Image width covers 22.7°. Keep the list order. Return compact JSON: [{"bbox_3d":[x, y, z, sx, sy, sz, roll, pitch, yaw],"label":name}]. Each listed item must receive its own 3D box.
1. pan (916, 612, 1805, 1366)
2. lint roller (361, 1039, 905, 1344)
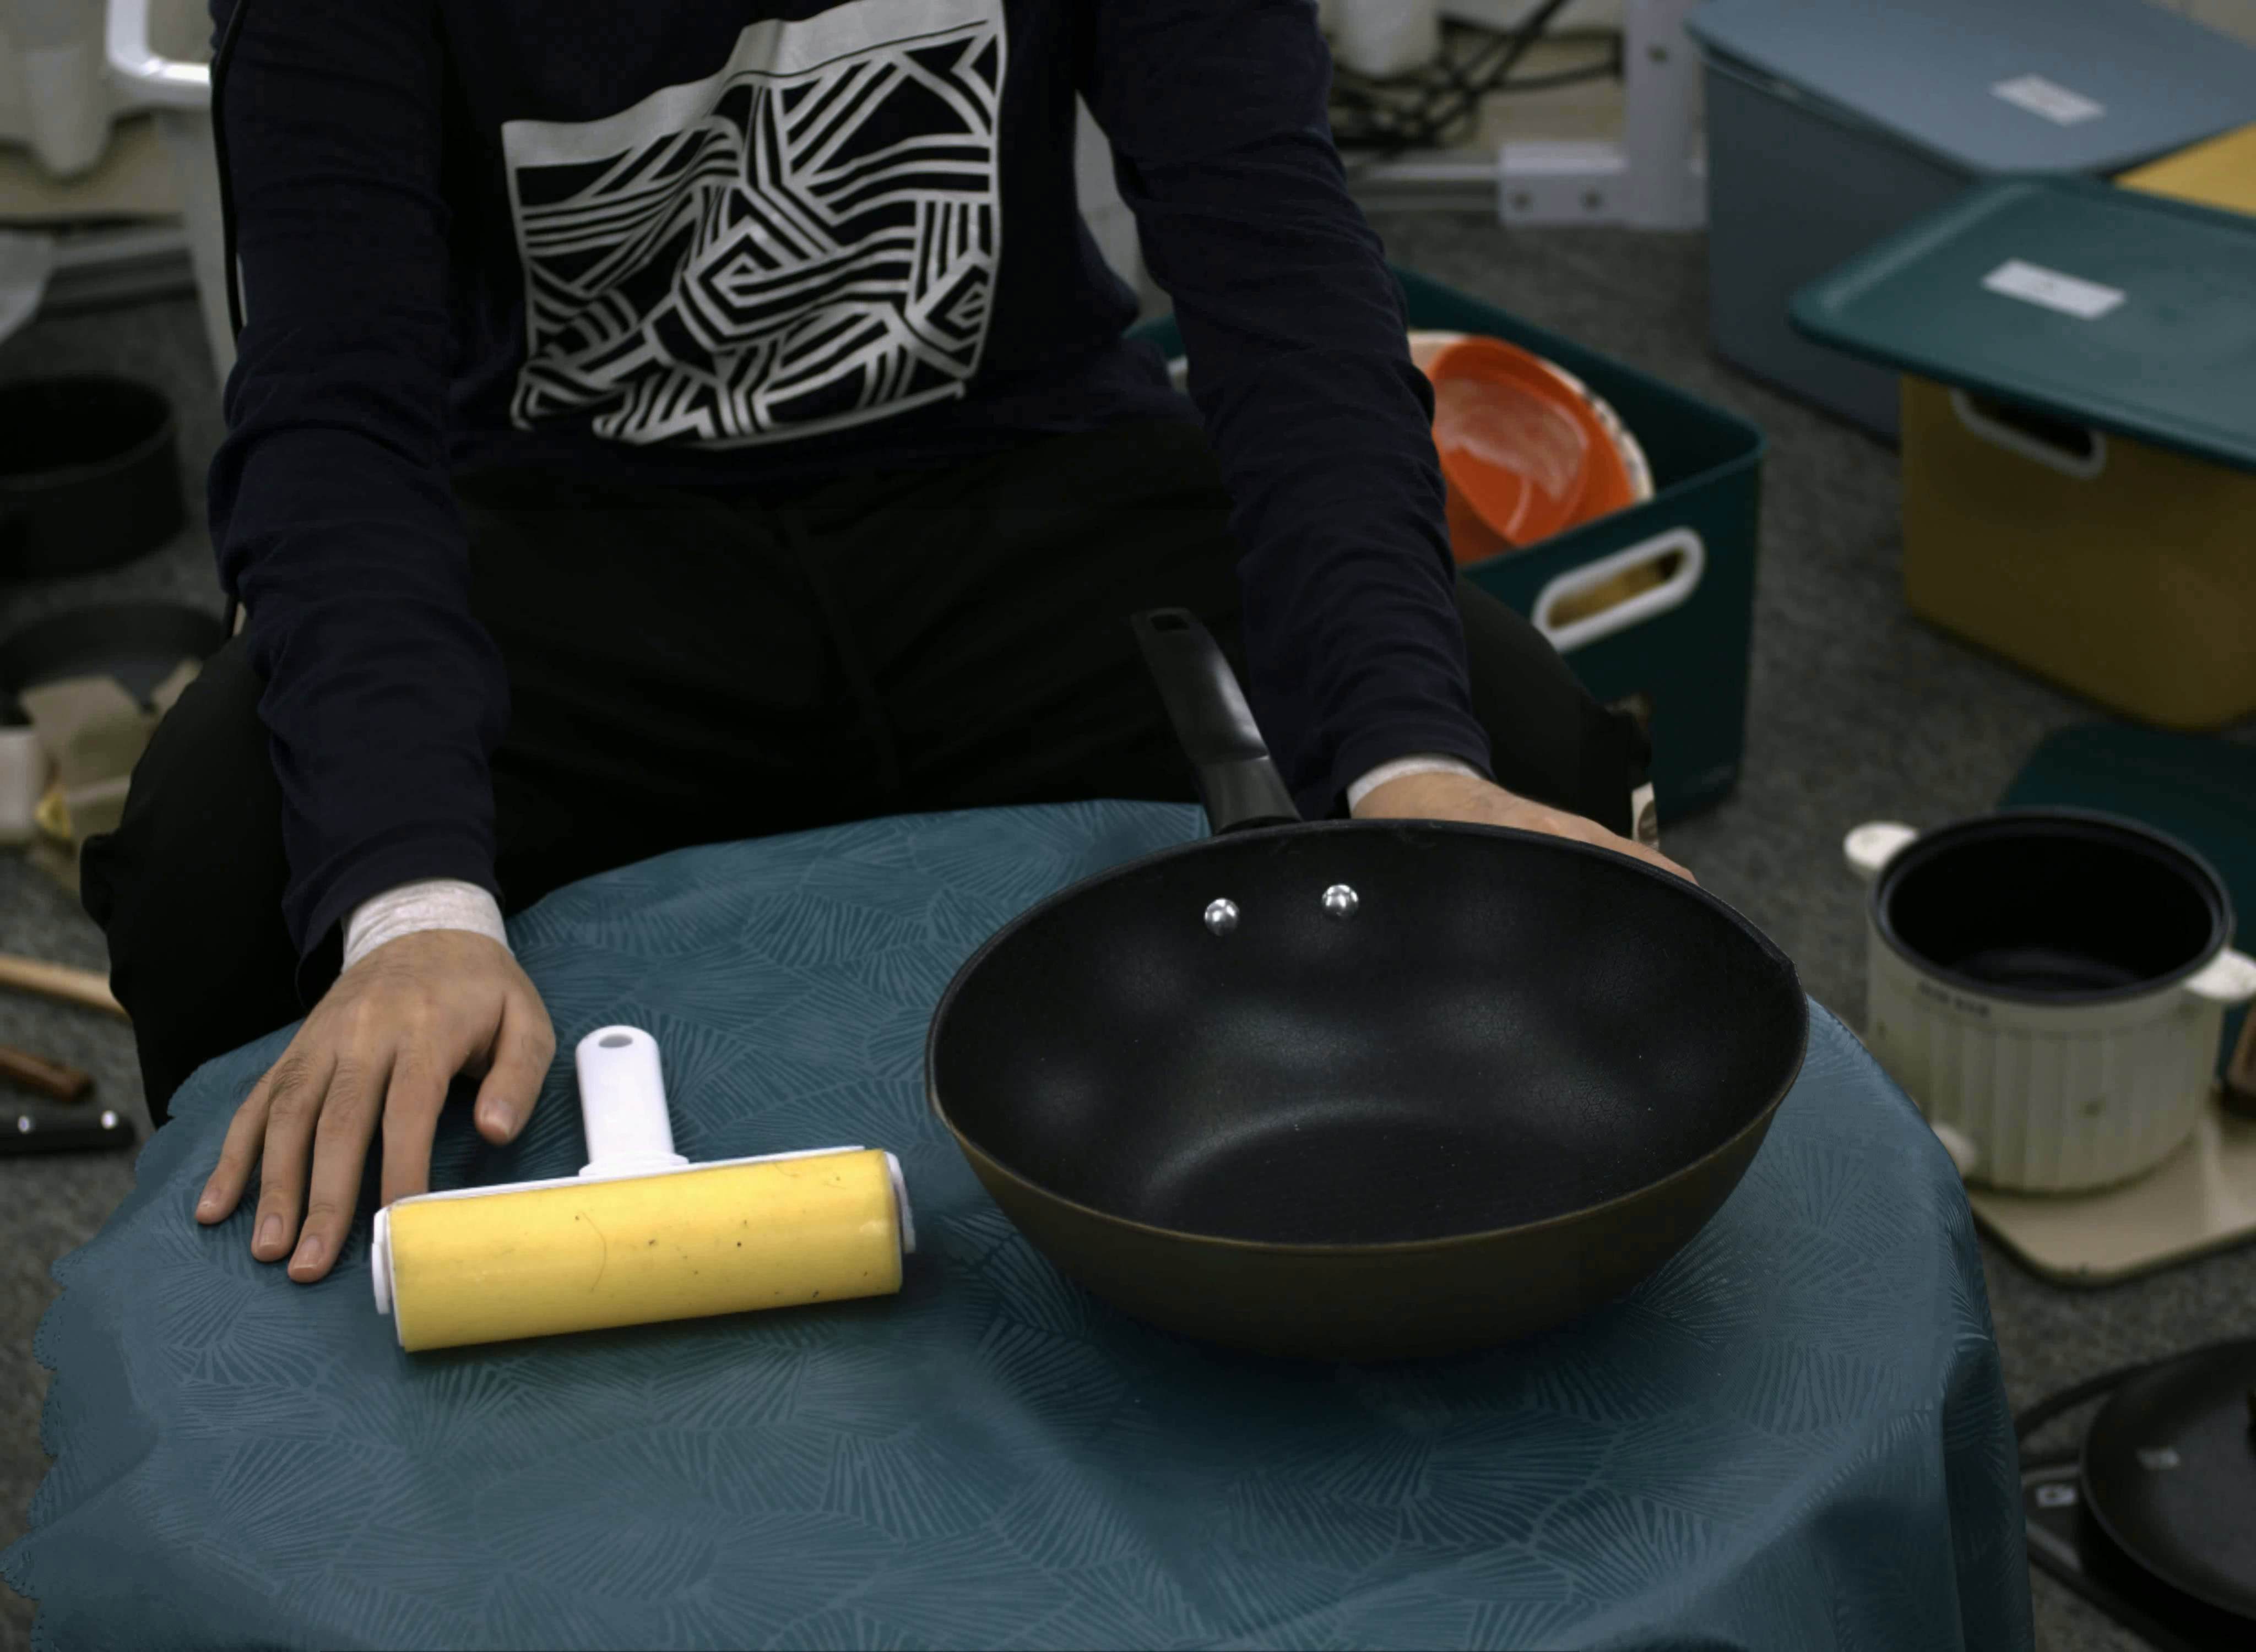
[{"bbox_3d":[0.057,0.056,1.895,0.288,0.086,0.468,-7,27,-10],"label":"pan"},{"bbox_3d":[-0.169,0.104,1.861,0.174,0.051,0.194,-6,28,-7],"label":"lint roller"}]
